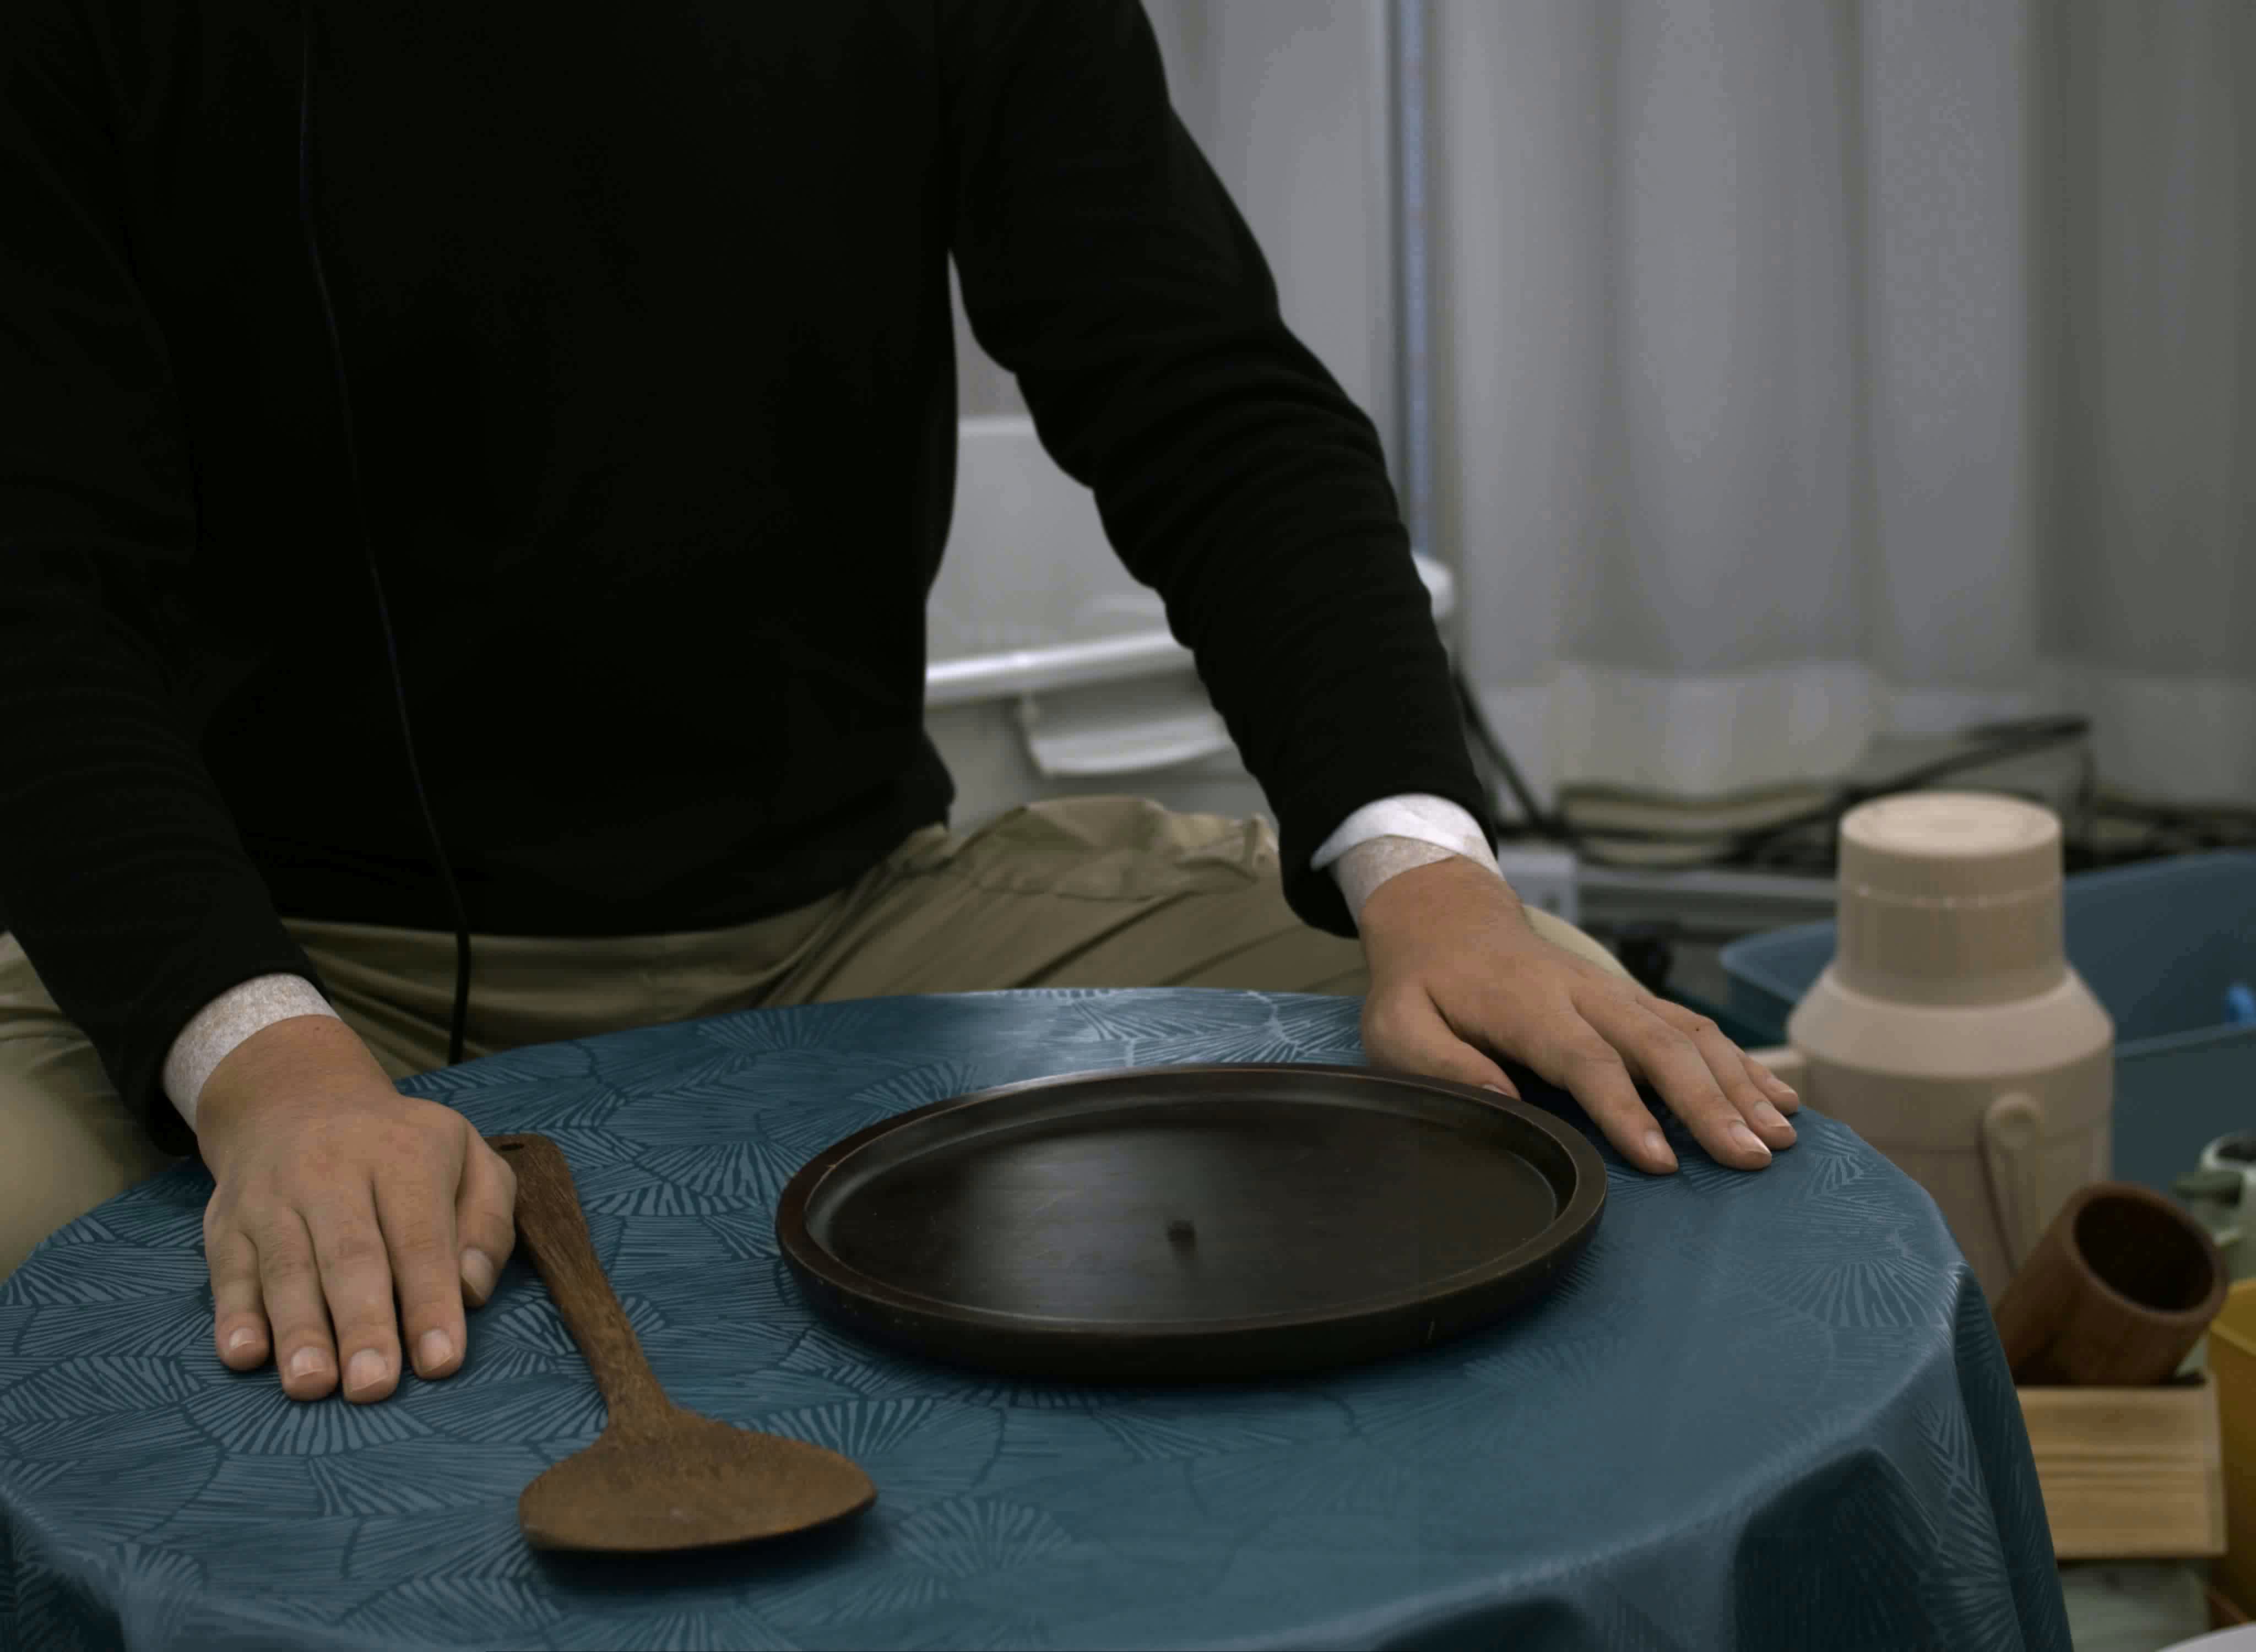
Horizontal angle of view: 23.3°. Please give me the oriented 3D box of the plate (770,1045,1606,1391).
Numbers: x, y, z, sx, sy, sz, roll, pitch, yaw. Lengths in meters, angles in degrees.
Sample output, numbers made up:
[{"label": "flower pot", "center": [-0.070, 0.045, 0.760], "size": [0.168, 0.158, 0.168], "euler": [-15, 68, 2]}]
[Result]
[{"label": "plate", "center": [0.019, 0.118, 1.650], "size": [0.254, 0.029, 0.256], "euler": [-4, 15, 1]}]

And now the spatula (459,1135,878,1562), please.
[{"label": "spatula", "center": [-0.156, 0.146, 1.599], "size": [0.095, 0.016, 0.389], "euler": [-6, 15, -14]}]
